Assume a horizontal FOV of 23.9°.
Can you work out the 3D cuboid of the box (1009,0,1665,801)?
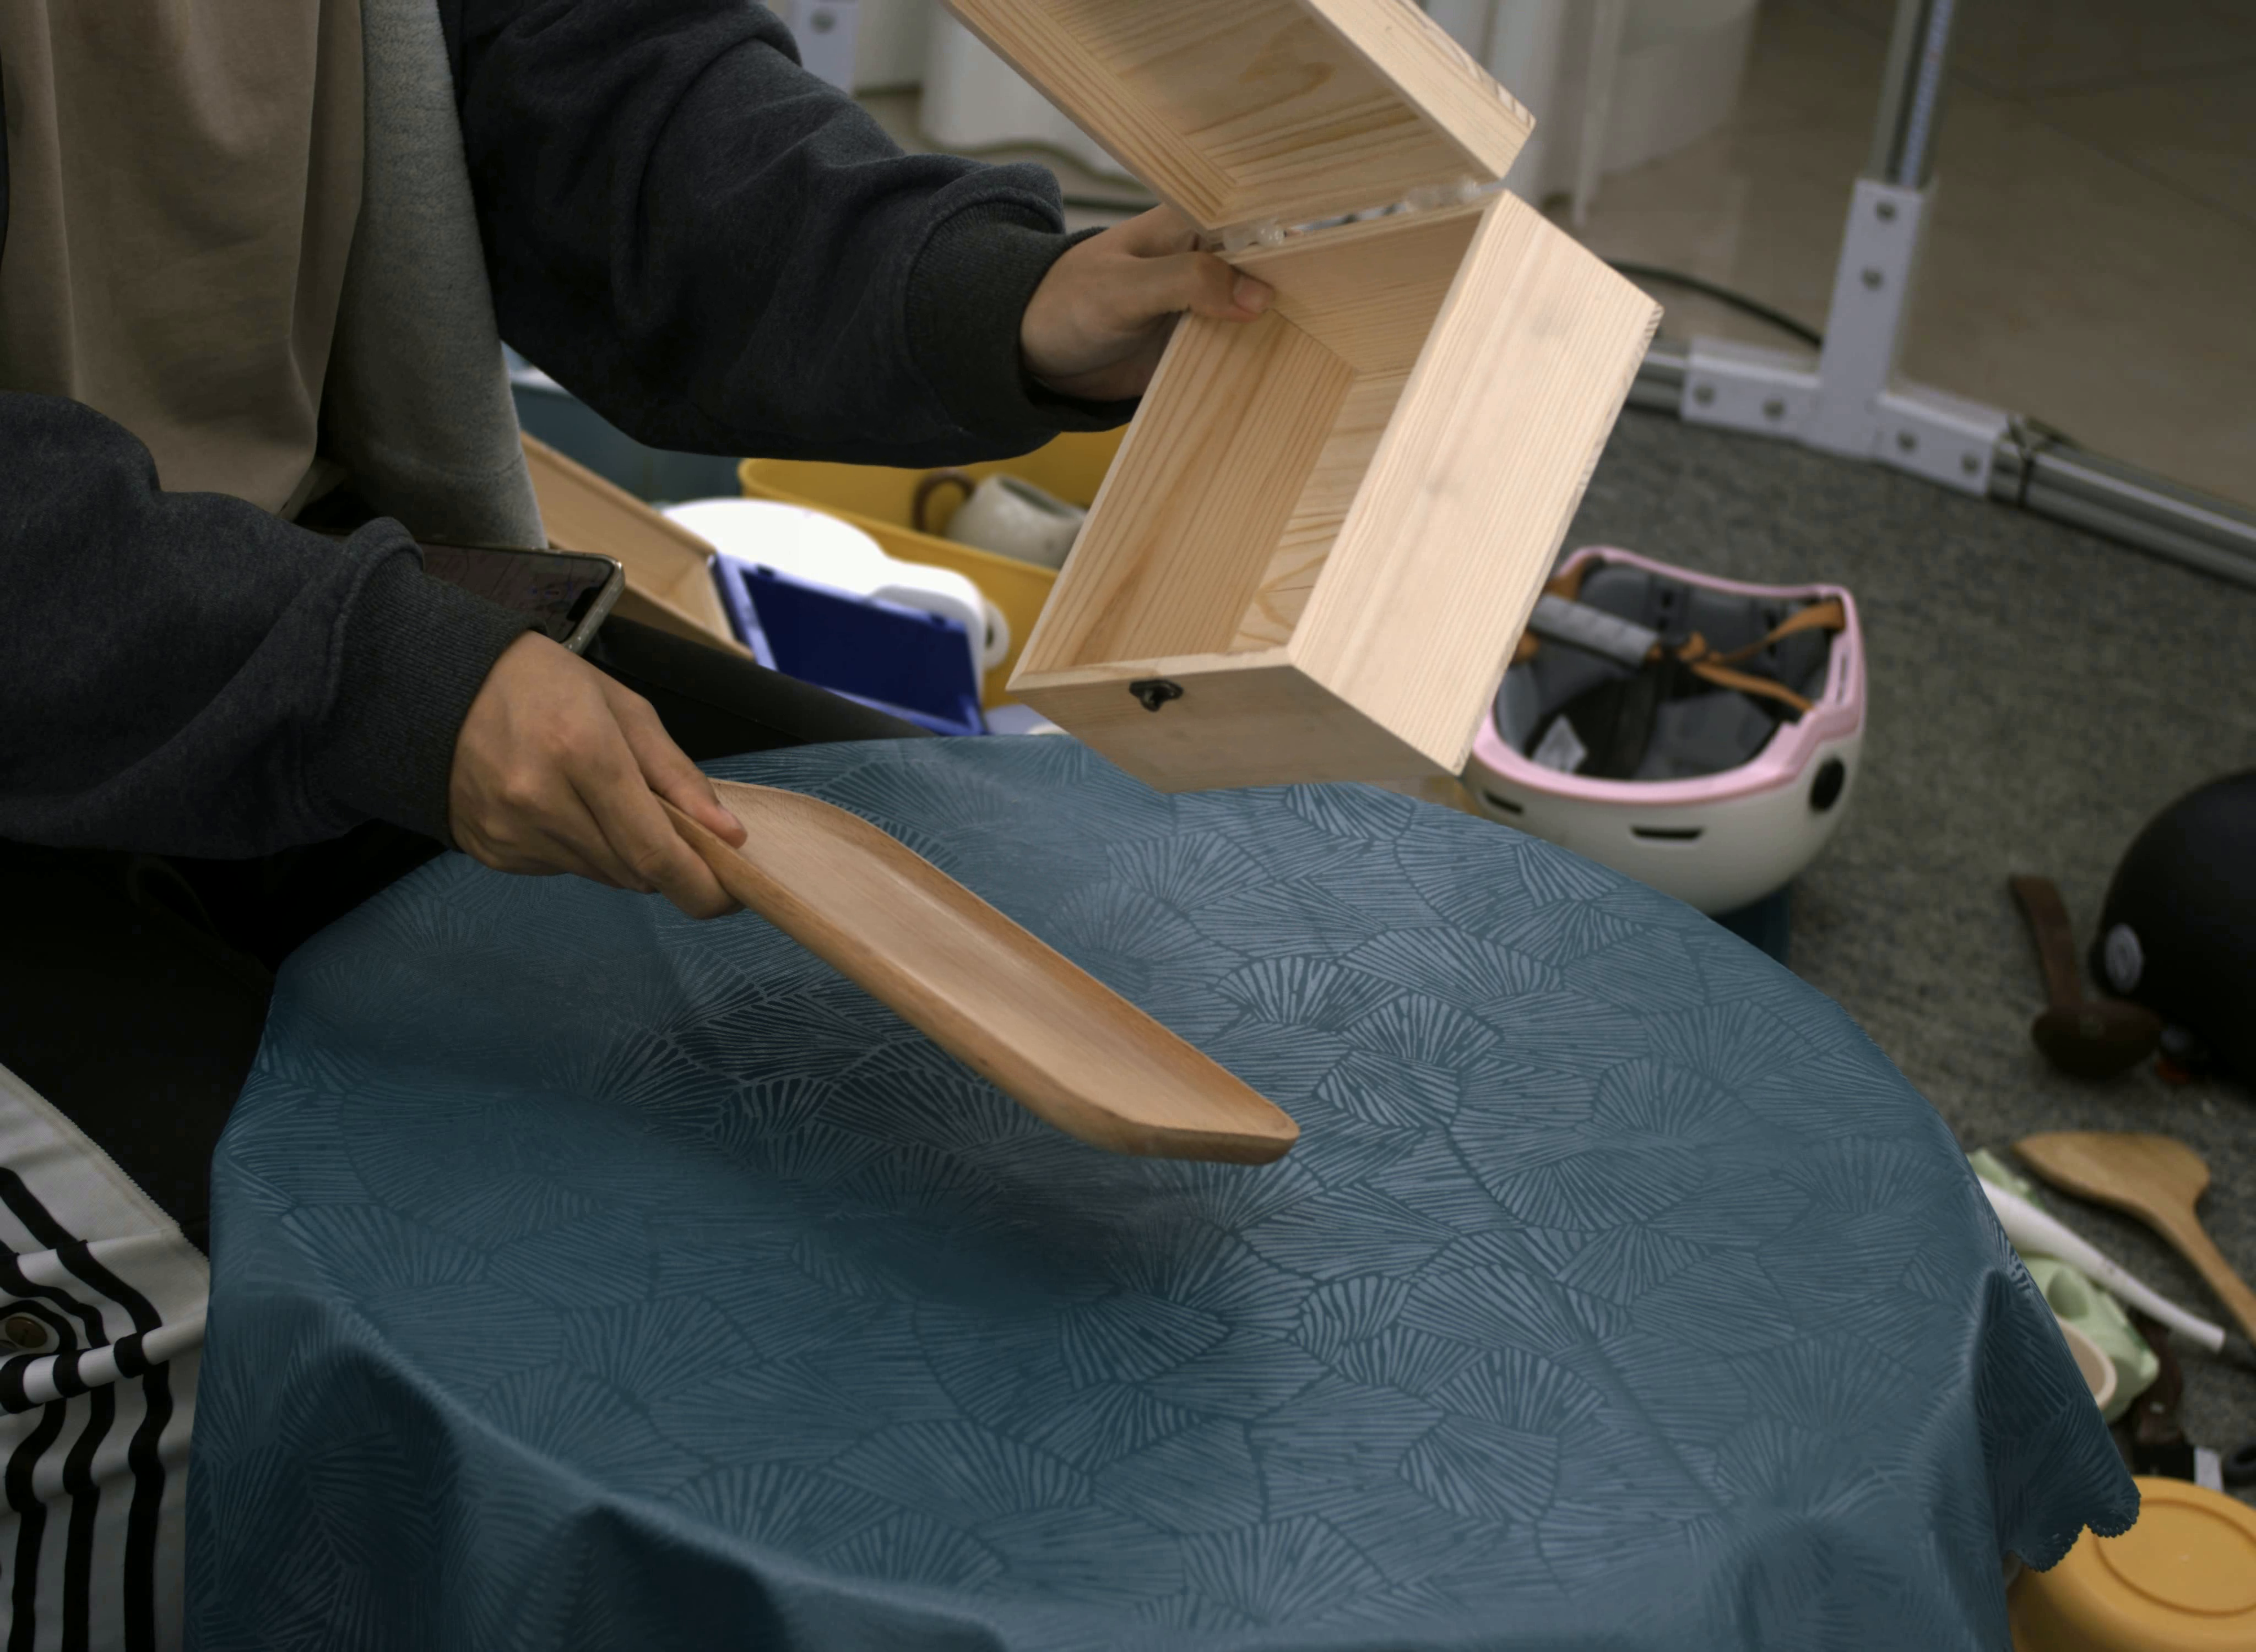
[{"bbox_3d":[0.018,-0.182,1.779,0.251,0.266,0.182,33,-19,-23],"label":"box"}]

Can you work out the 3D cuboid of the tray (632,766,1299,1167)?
[{"bbox_3d":[-0.058,0.047,1.797,0.253,0.023,0.129,33,11,35],"label":"tray"}]
